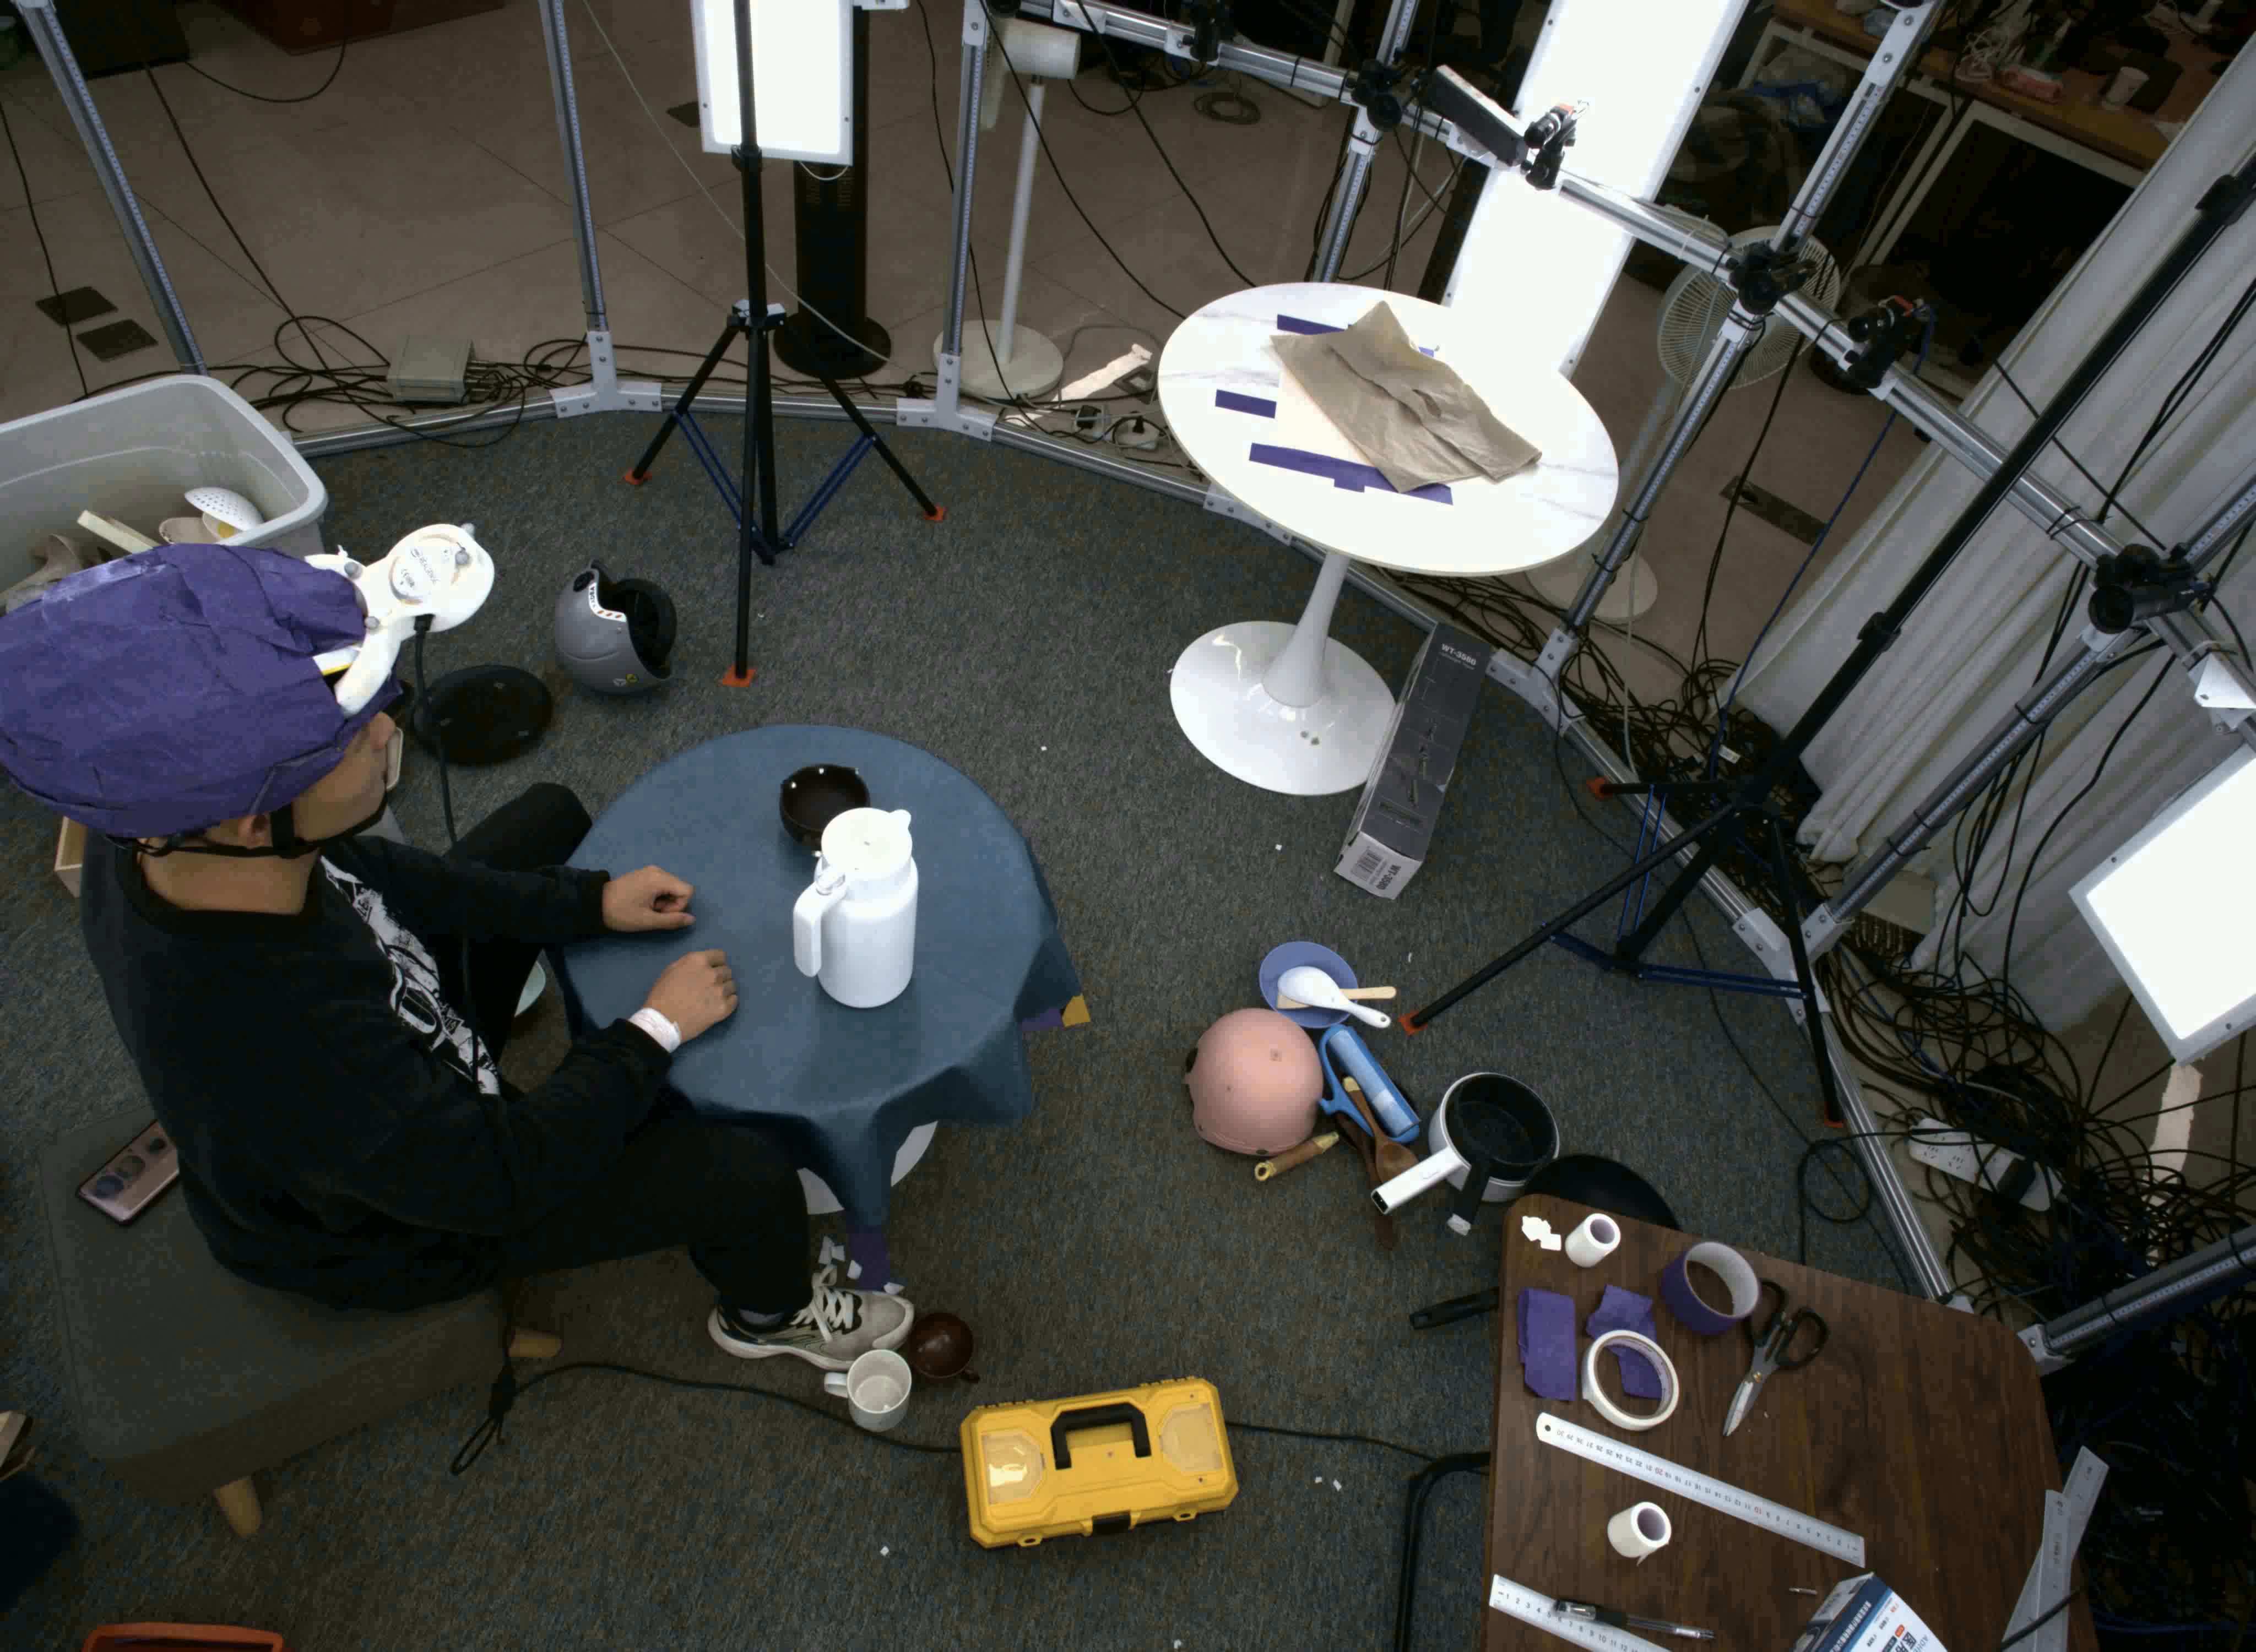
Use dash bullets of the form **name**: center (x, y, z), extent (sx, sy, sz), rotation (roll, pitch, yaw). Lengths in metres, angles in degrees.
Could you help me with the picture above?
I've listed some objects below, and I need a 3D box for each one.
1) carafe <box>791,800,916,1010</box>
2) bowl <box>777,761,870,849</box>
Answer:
- **carafe**: center (-0.314, 0.106, 1.498), extent (0.121, 0.274, 0.172), rotation (32, 53, 12)
- **bowl**: center (-0.398, -0.020, 1.695), extent (0.118, 0.071, 0.116), rotation (7, 53, -8)
